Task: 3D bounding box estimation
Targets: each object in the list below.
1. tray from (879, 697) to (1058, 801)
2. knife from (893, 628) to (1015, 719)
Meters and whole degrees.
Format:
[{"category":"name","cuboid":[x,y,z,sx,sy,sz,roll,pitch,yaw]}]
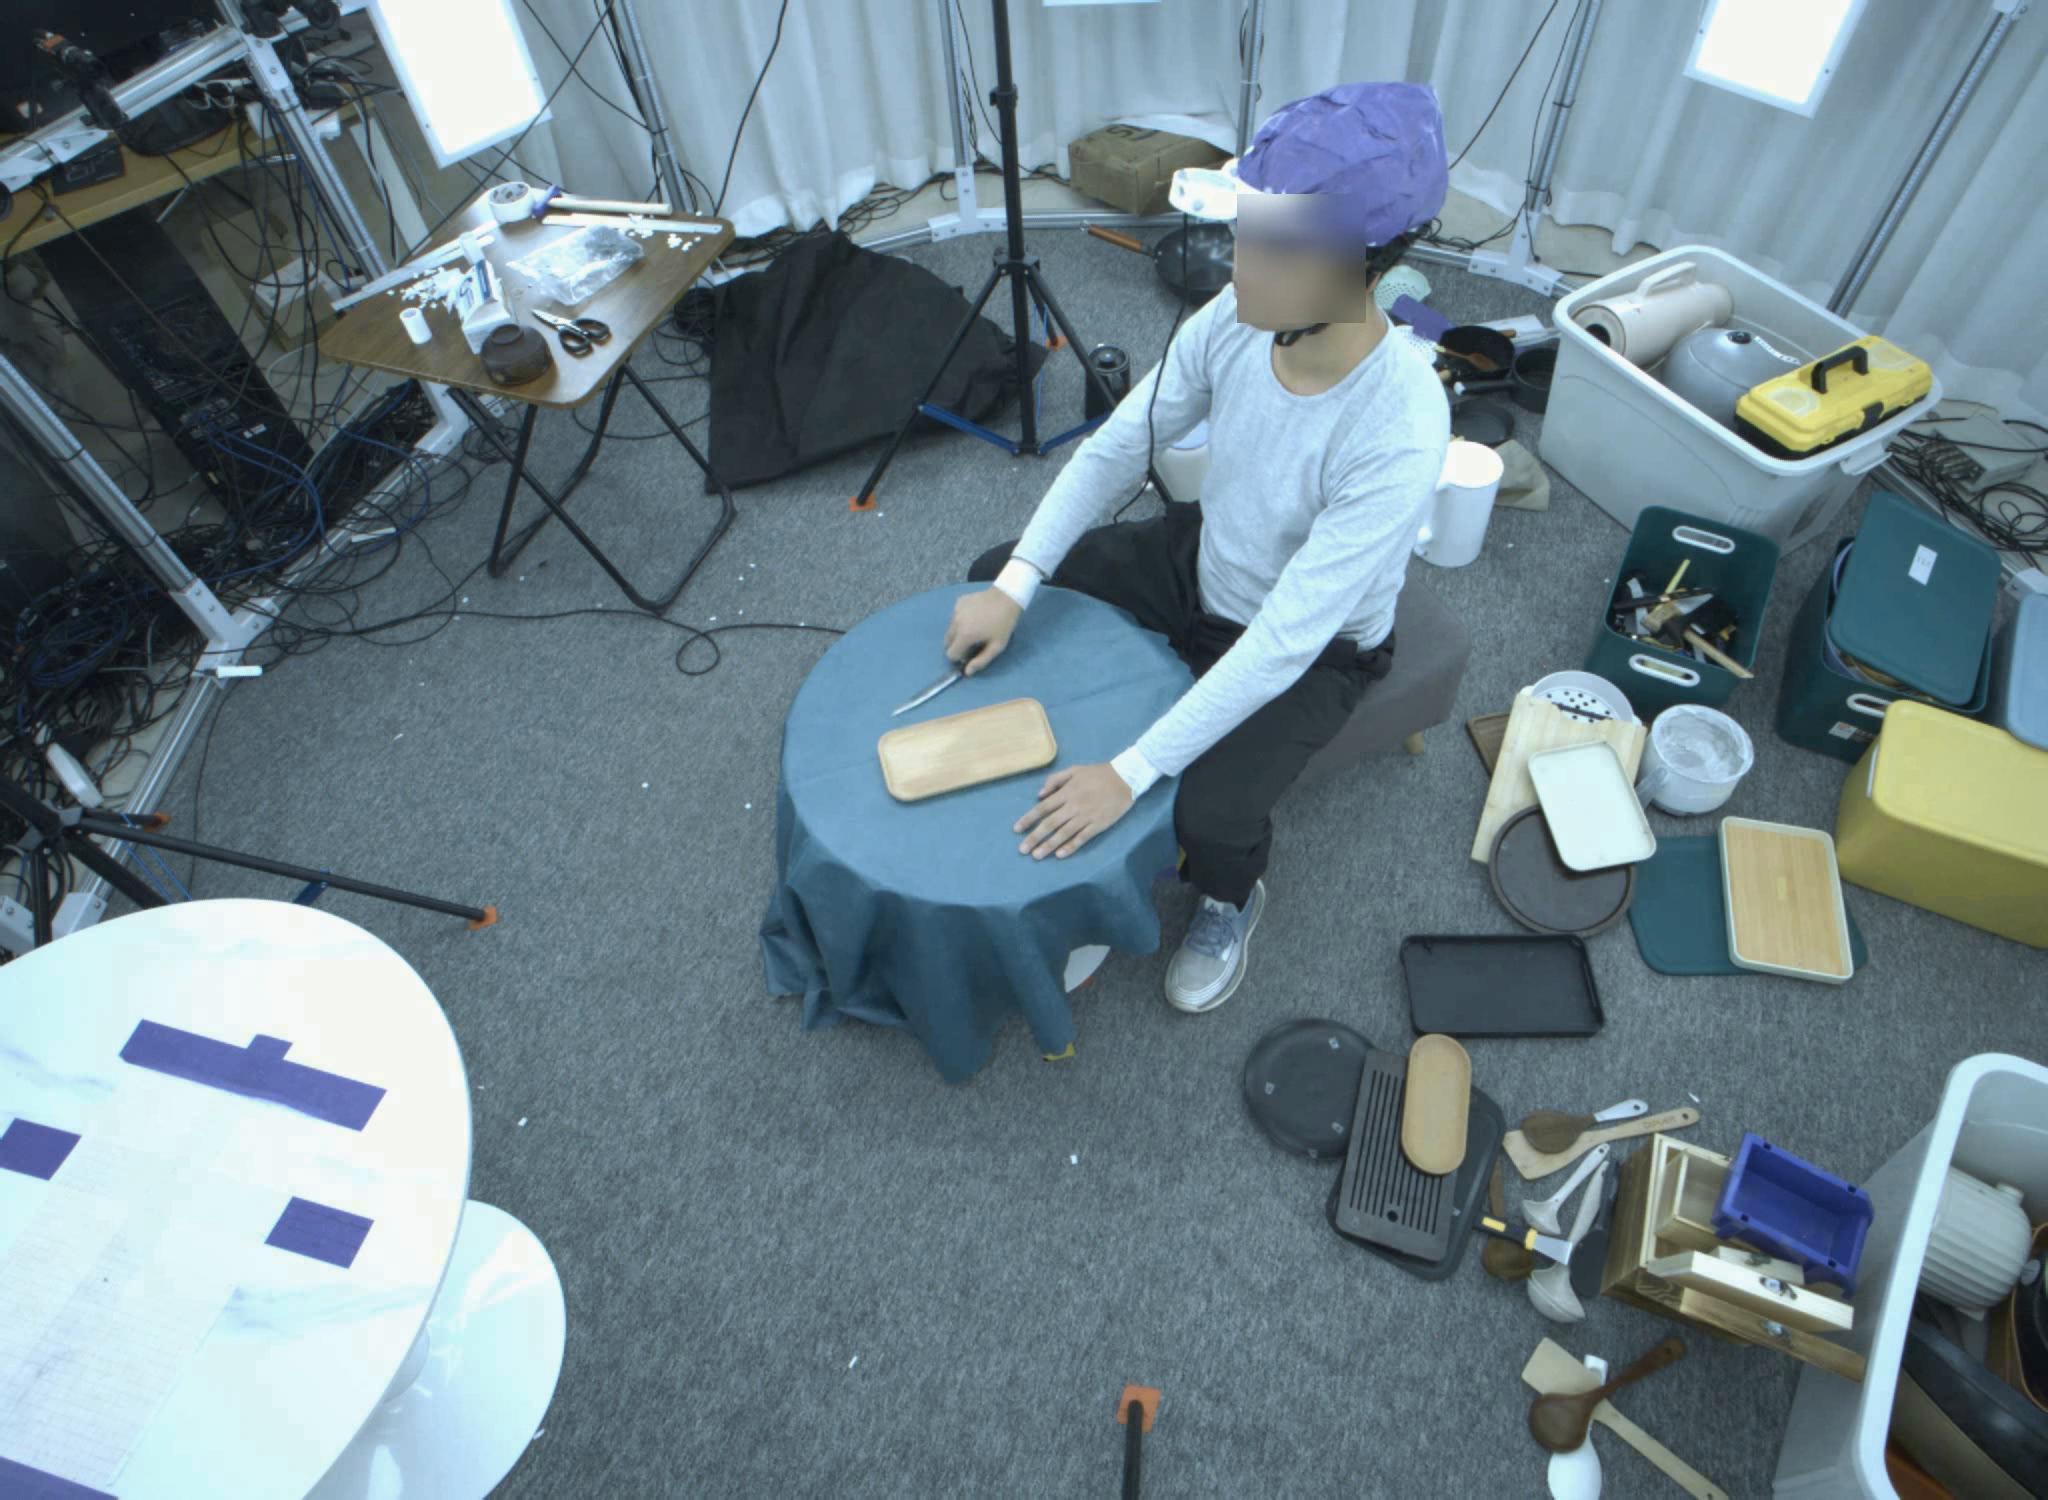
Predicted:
[{"category":"tray","cuboid":[-0.082,-0.002,1.788,0.252,0.023,0.128,-13,58,-9]},{"category":"knife","cuboid":[-0.109,-0.119,1.875,0.240,0.016,0.024,-38,61,-20]}]
